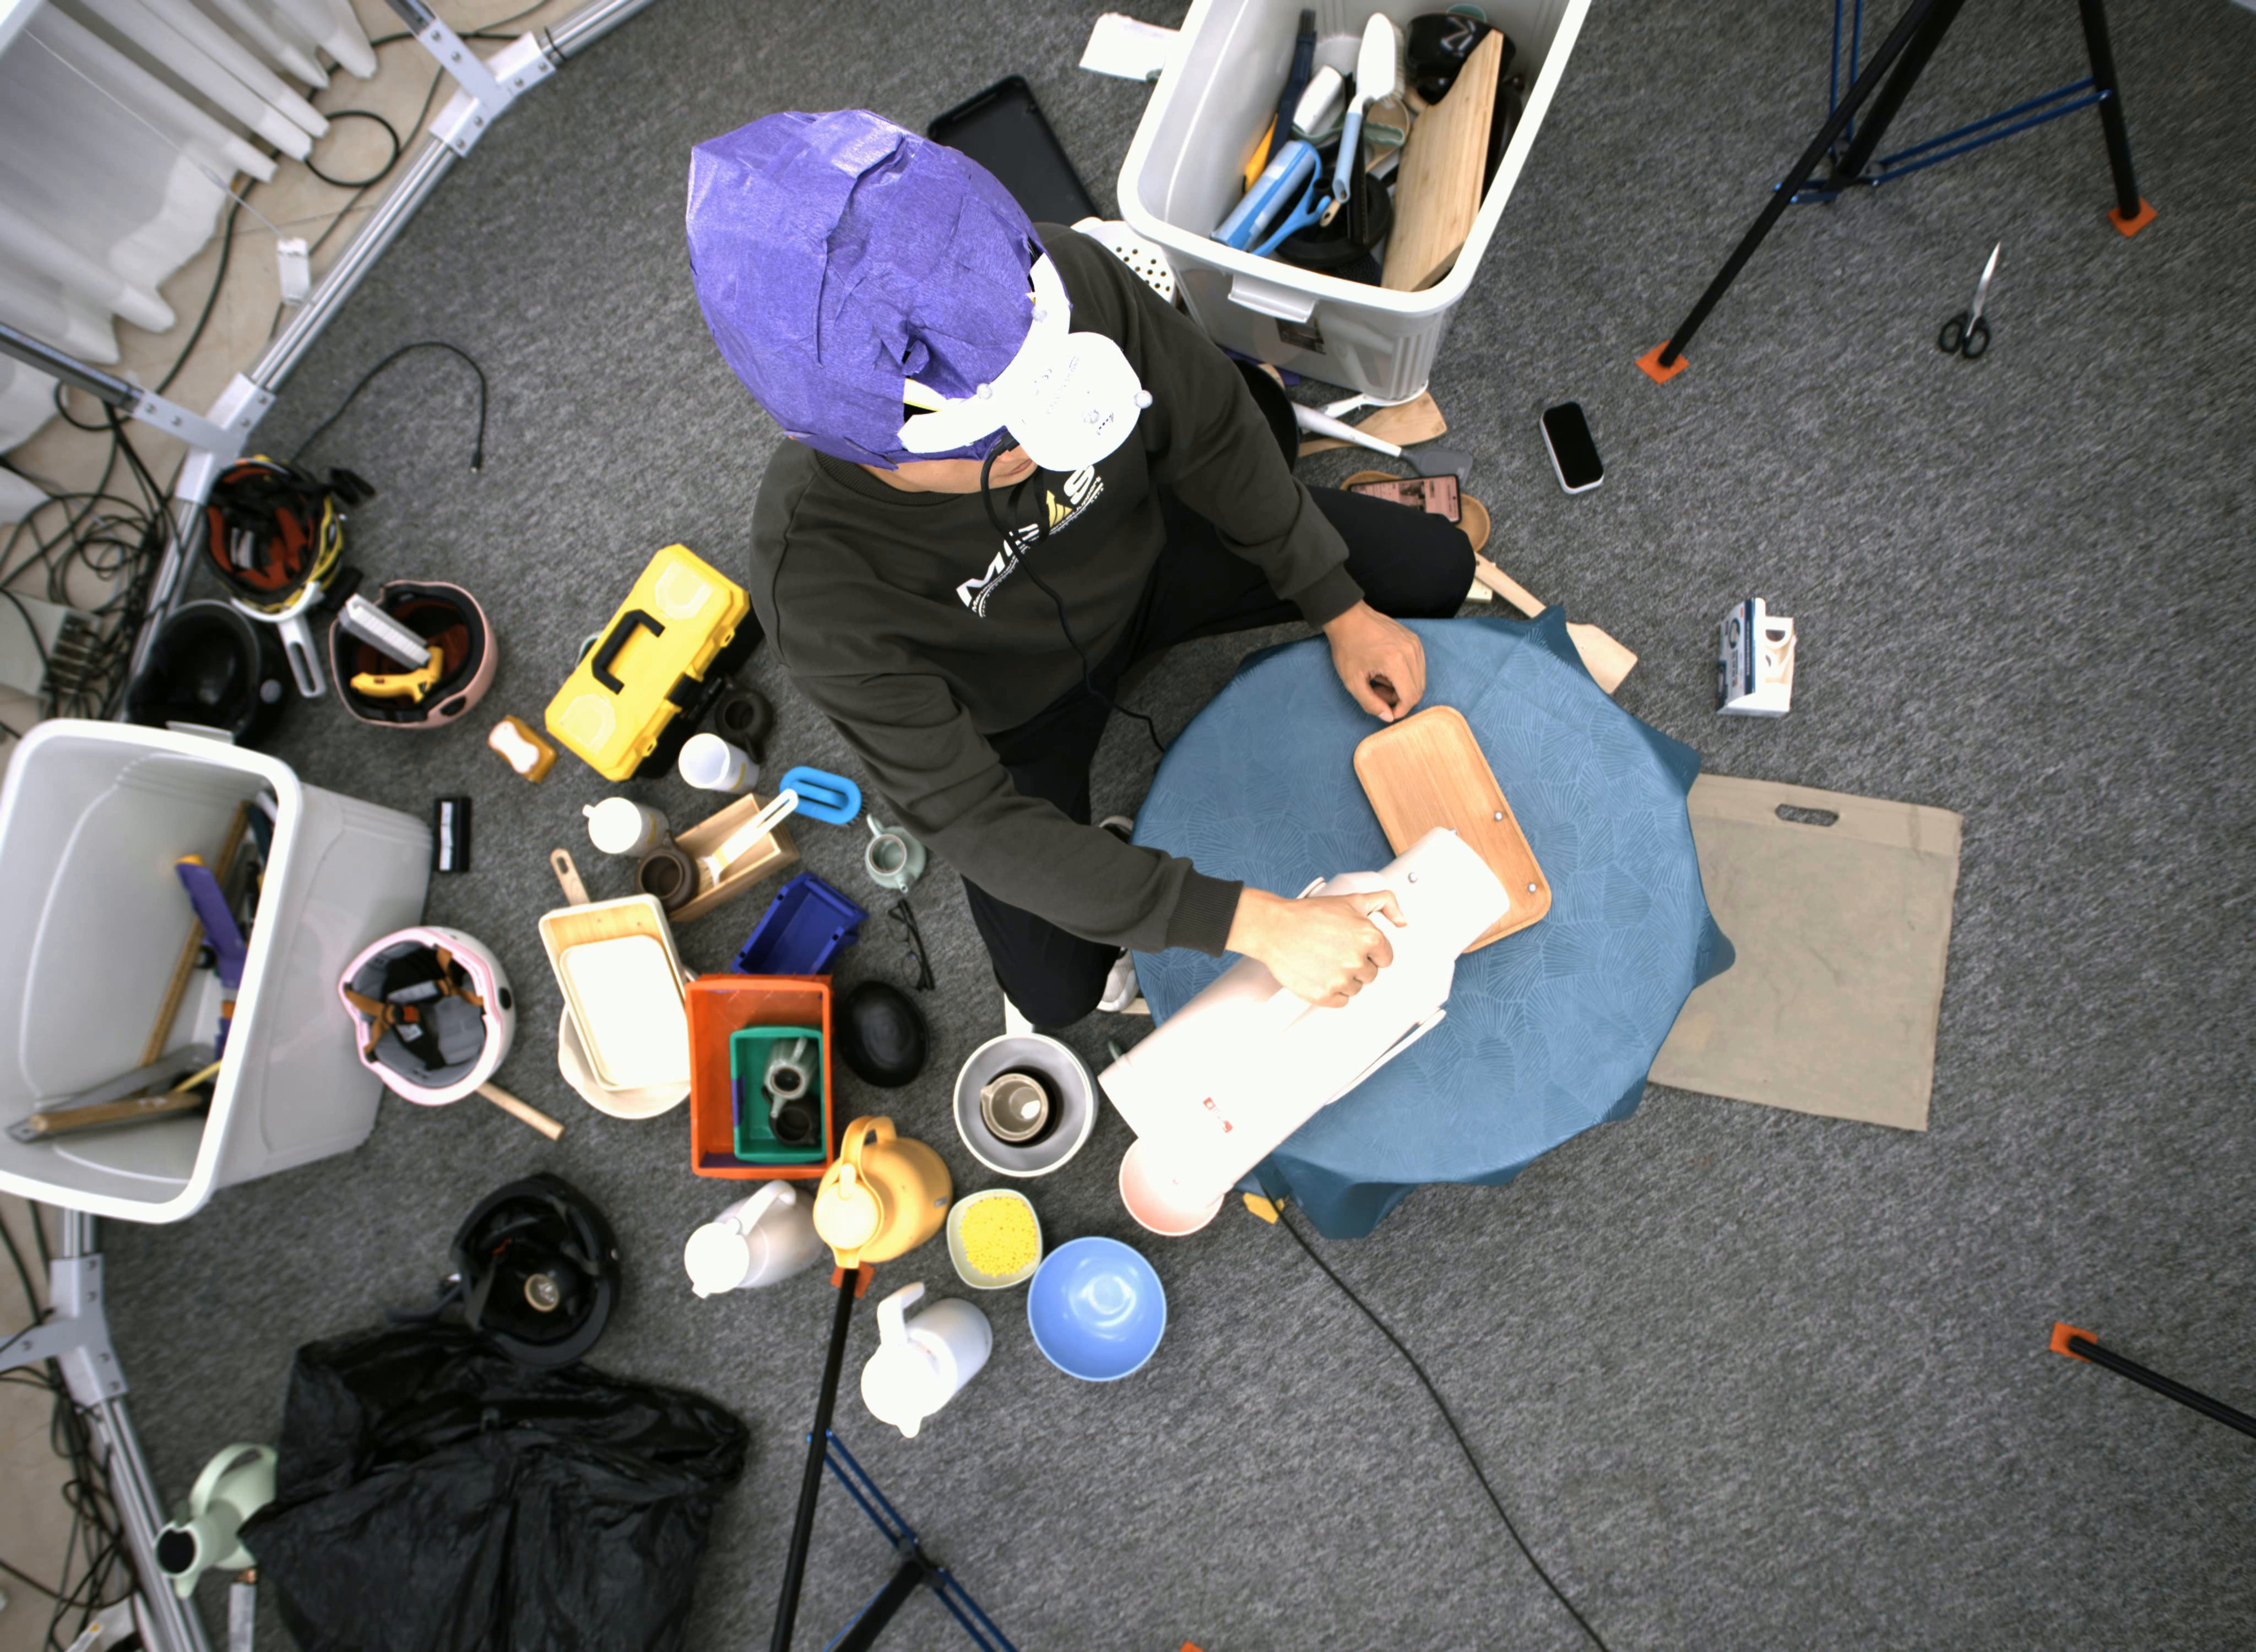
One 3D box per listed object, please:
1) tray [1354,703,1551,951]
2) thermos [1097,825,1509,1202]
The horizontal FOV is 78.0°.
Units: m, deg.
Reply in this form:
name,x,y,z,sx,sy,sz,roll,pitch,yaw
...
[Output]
name,x,y,z,sx,sy,sz,roll,pitch,yaw
tray,0.339,-0.001,1.443,0.131,0.023,0.249,-24,82,6
thermos,0.169,0.160,1.292,0.406,0.209,0.174,-39,73,-1
